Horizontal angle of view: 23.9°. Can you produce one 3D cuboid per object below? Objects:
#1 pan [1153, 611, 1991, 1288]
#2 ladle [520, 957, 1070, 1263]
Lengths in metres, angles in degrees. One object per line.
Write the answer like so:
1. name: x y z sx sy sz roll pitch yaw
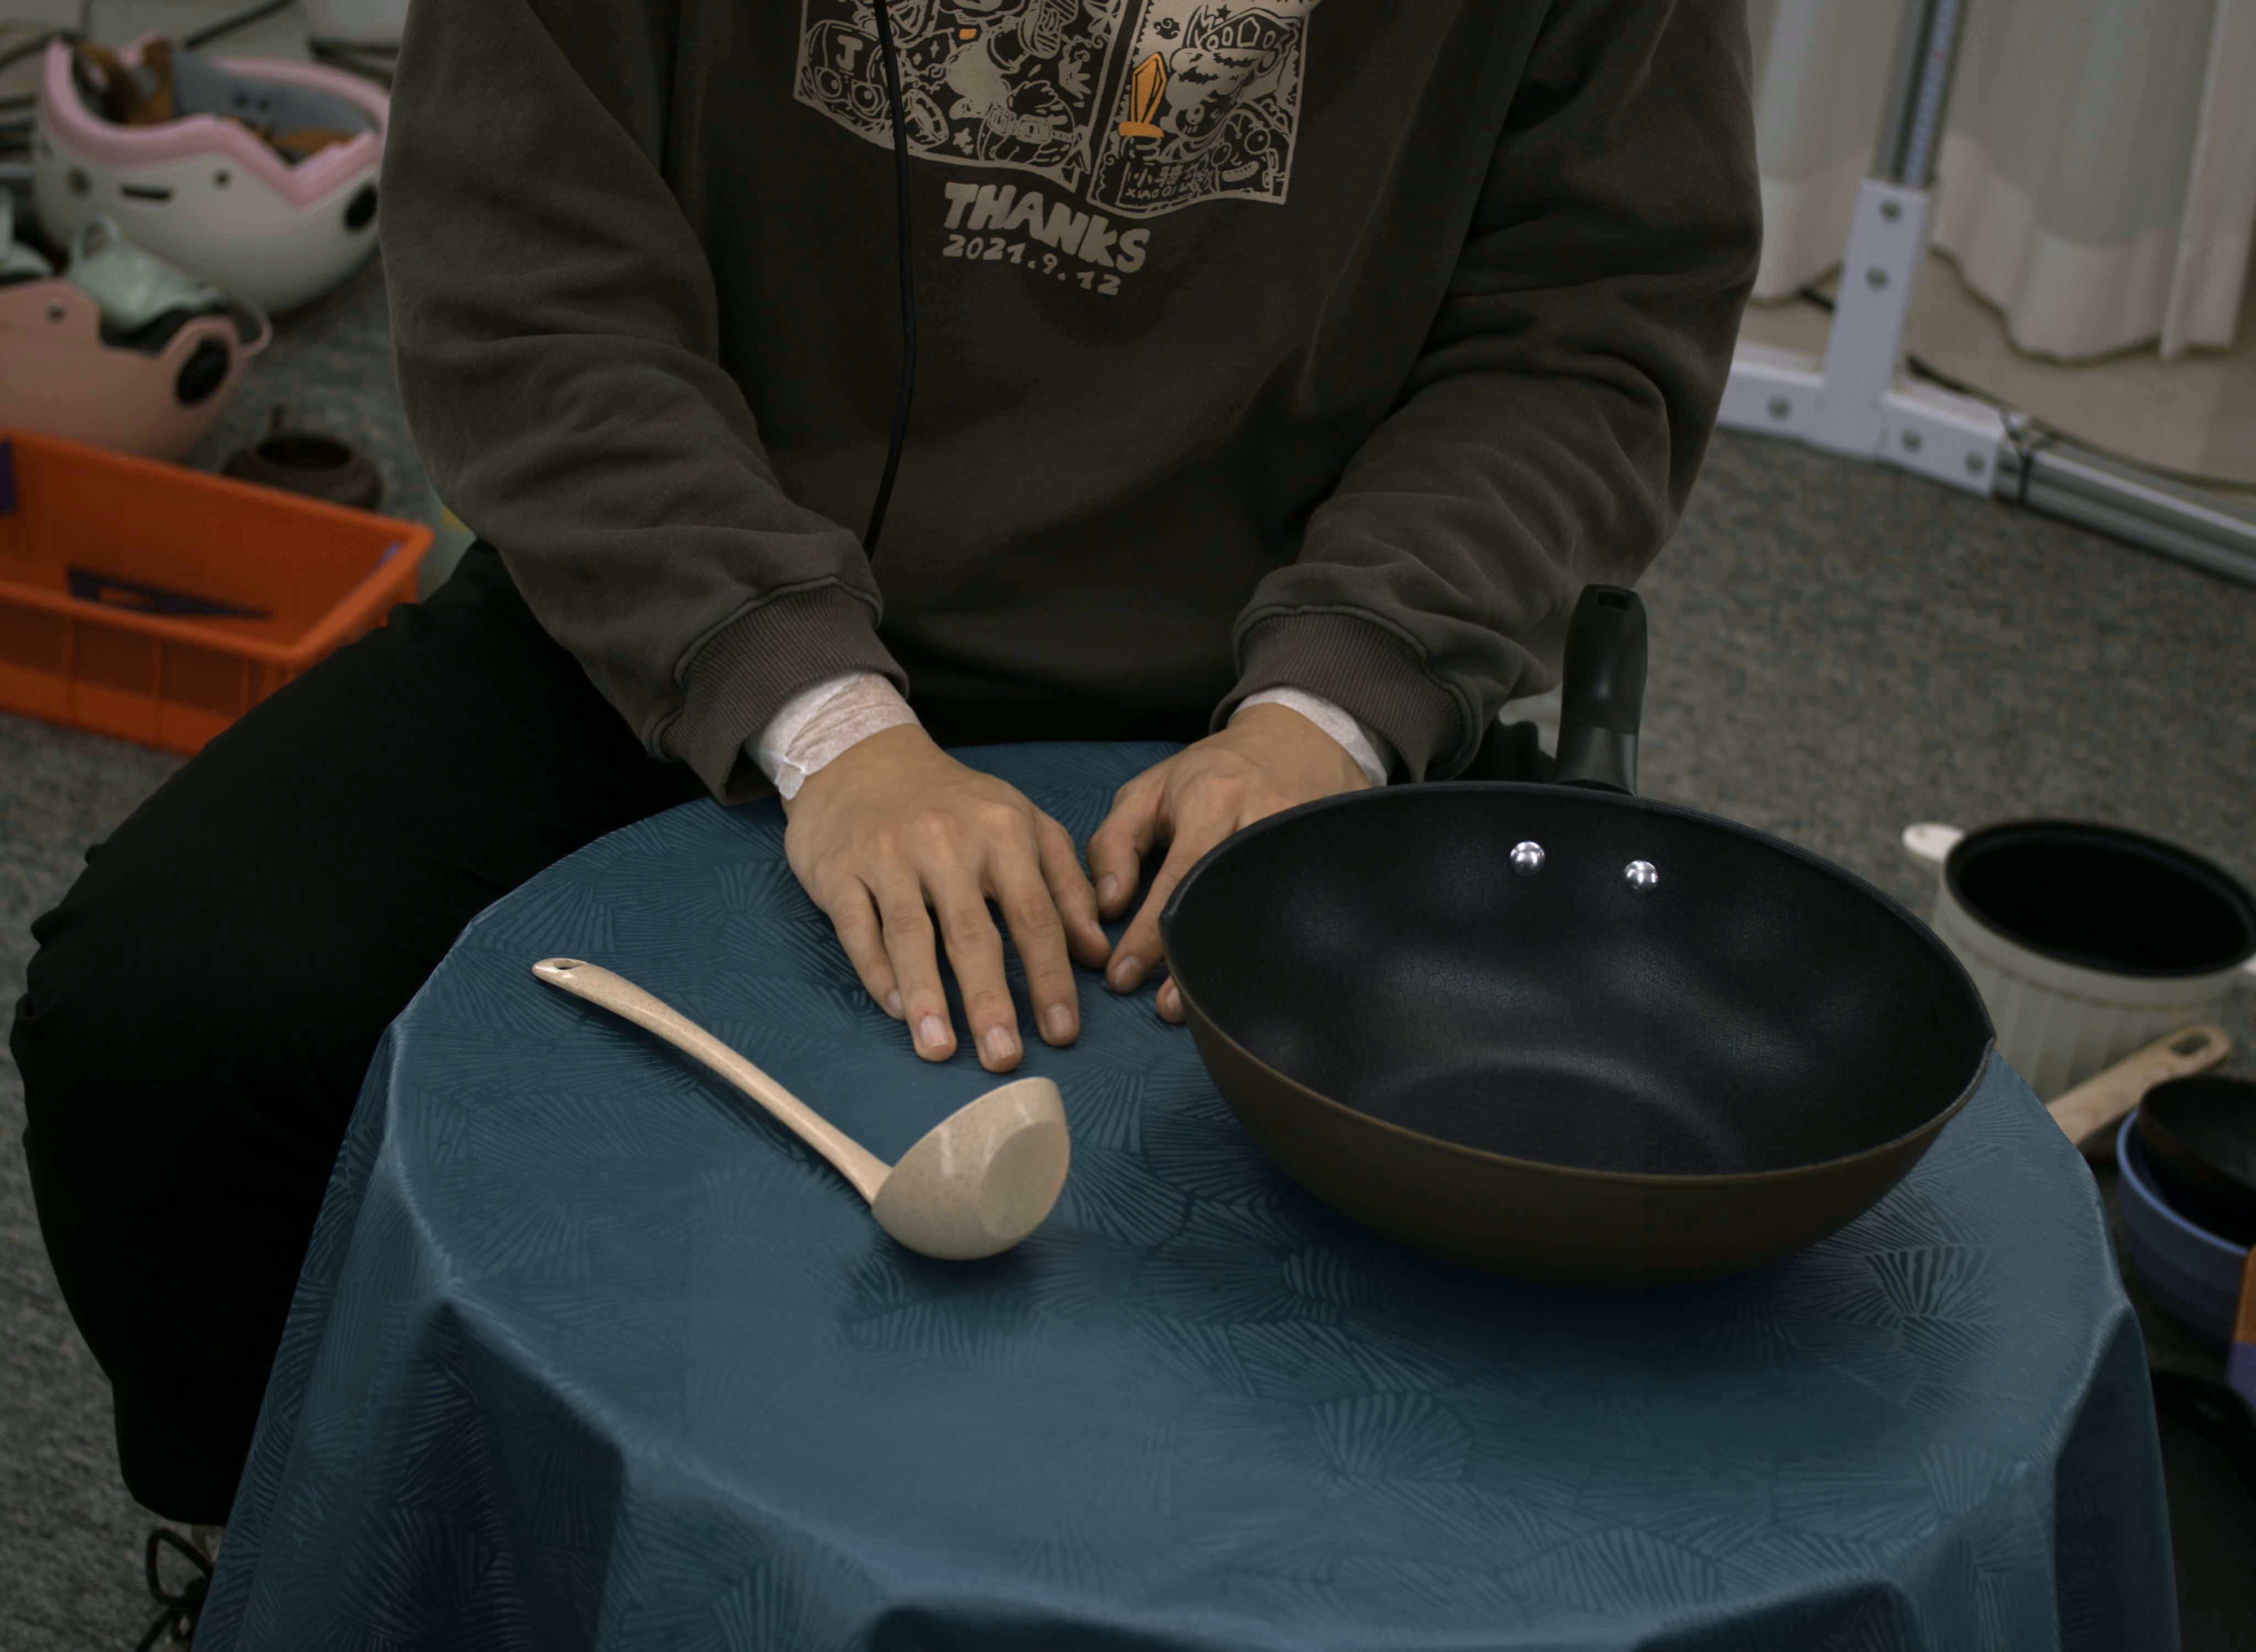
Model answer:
1. pan: 0.158 0.044 1.907 0.288 0.086 0.465 8 26 4
2. ladle: -0.121 0.069 1.803 0.072 0.072 0.256 -21 38 -40
